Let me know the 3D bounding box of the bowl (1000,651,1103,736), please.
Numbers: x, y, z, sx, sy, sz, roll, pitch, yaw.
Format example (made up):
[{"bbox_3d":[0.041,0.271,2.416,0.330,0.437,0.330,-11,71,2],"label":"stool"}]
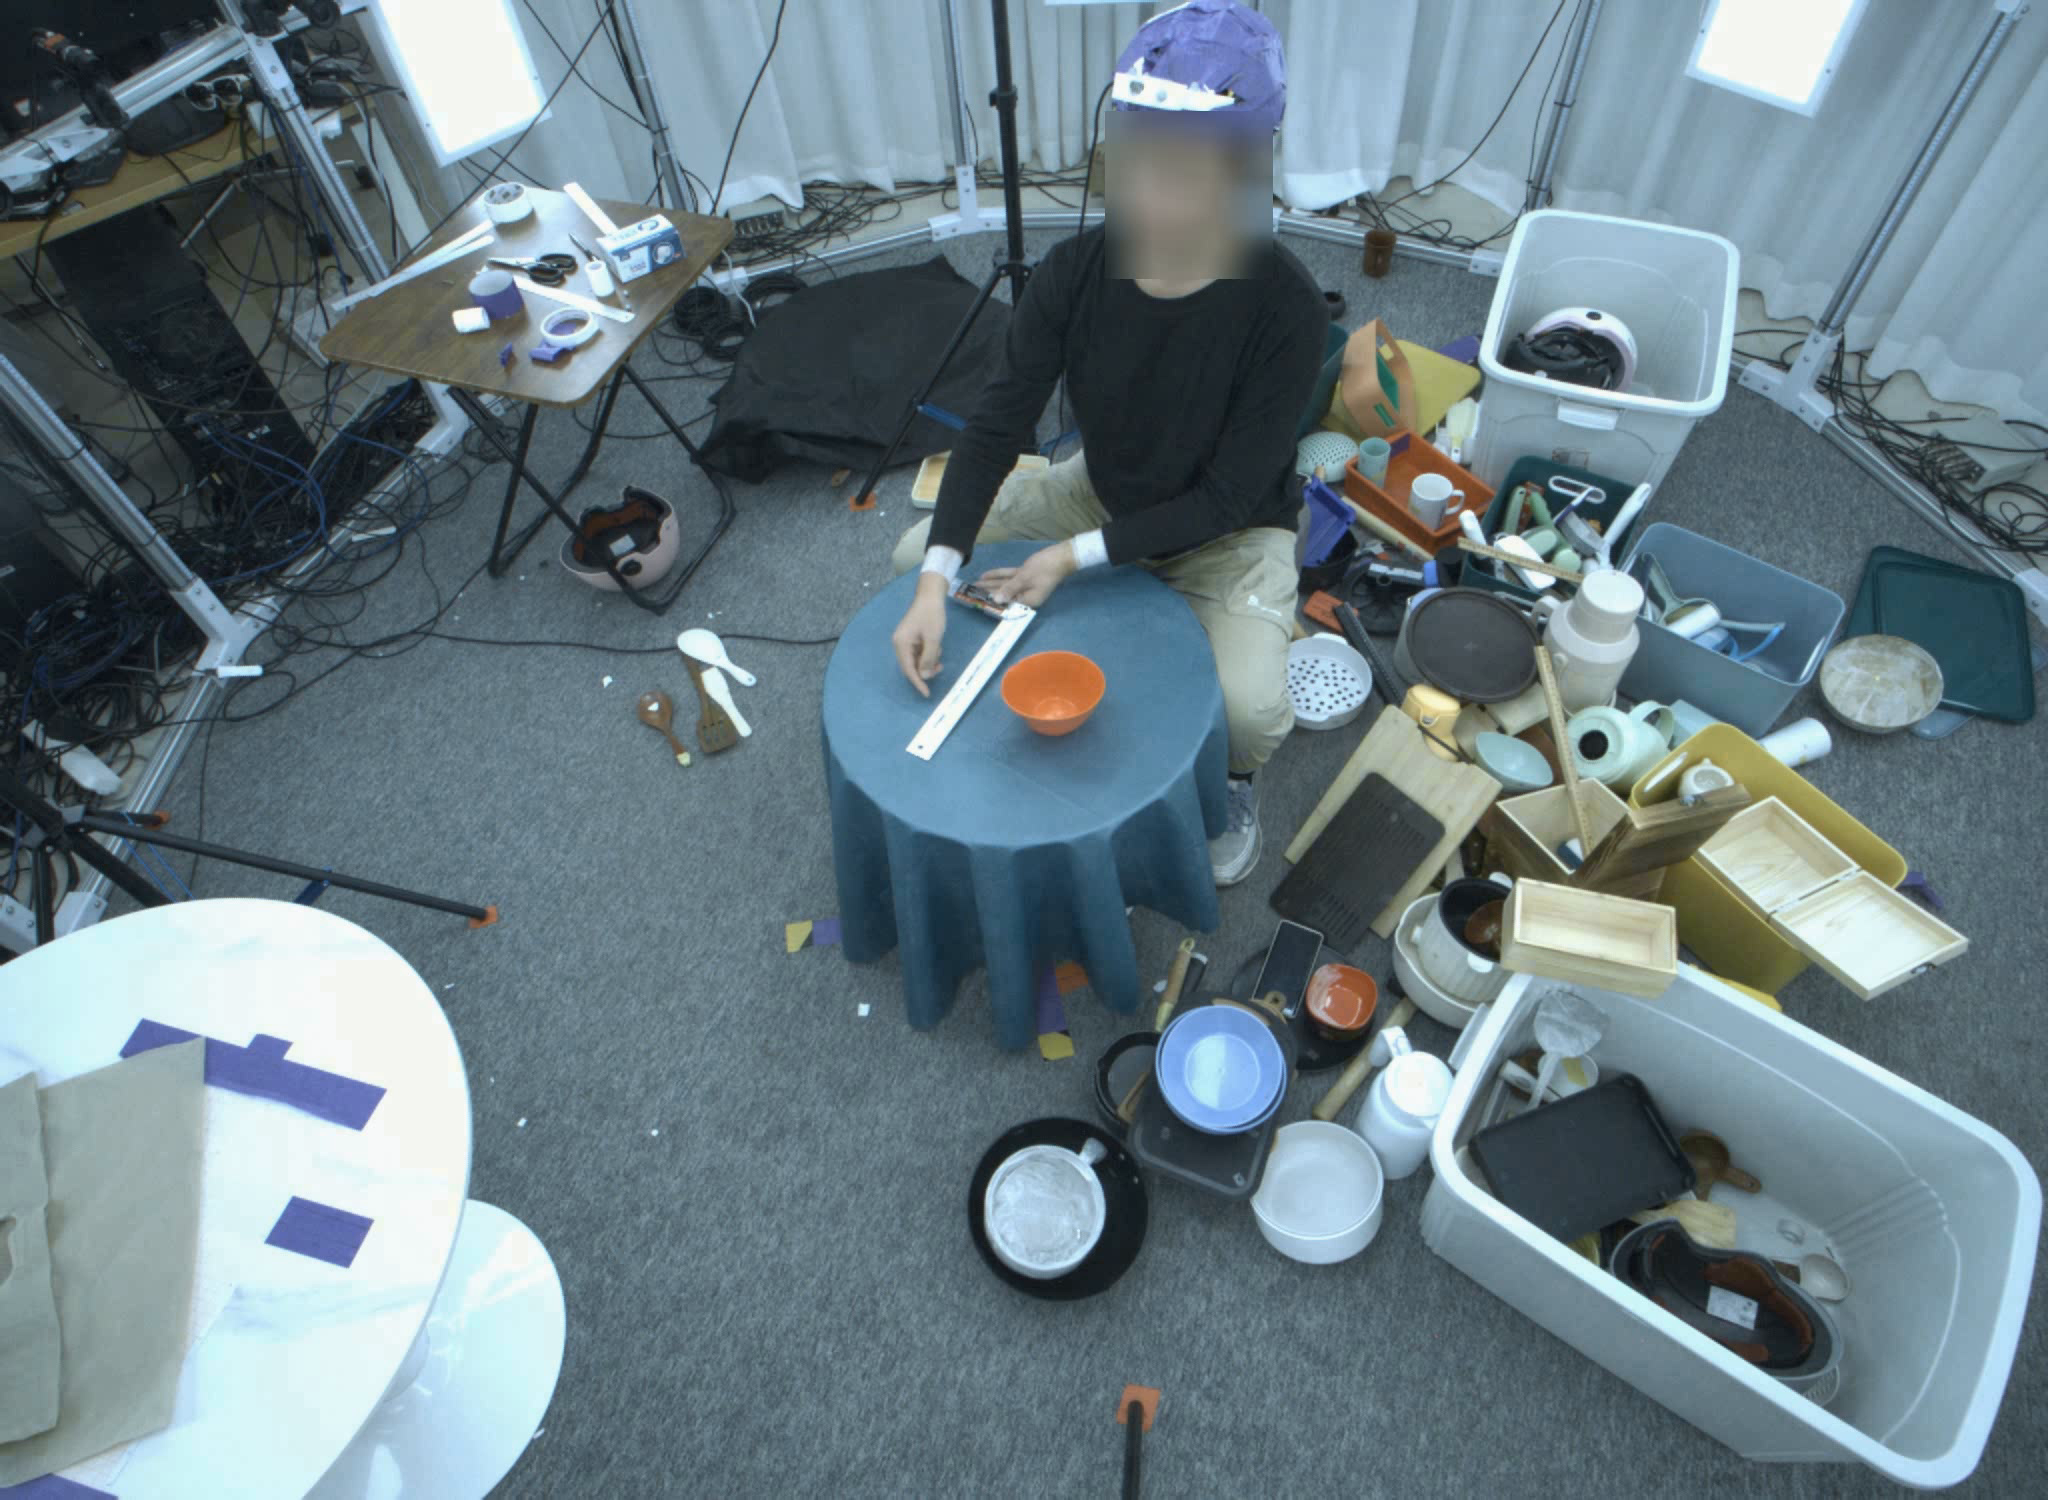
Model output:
[{"bbox_3d":[0.042,-0.068,1.773,0.148,0.106,0.146,-1,54,3],"label":"bowl"}]

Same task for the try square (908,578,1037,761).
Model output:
[{"bbox_3d":[-0.121,-0.129,1.870,0.150,0.016,0.313,24,63,20],"label":"try square"}]
